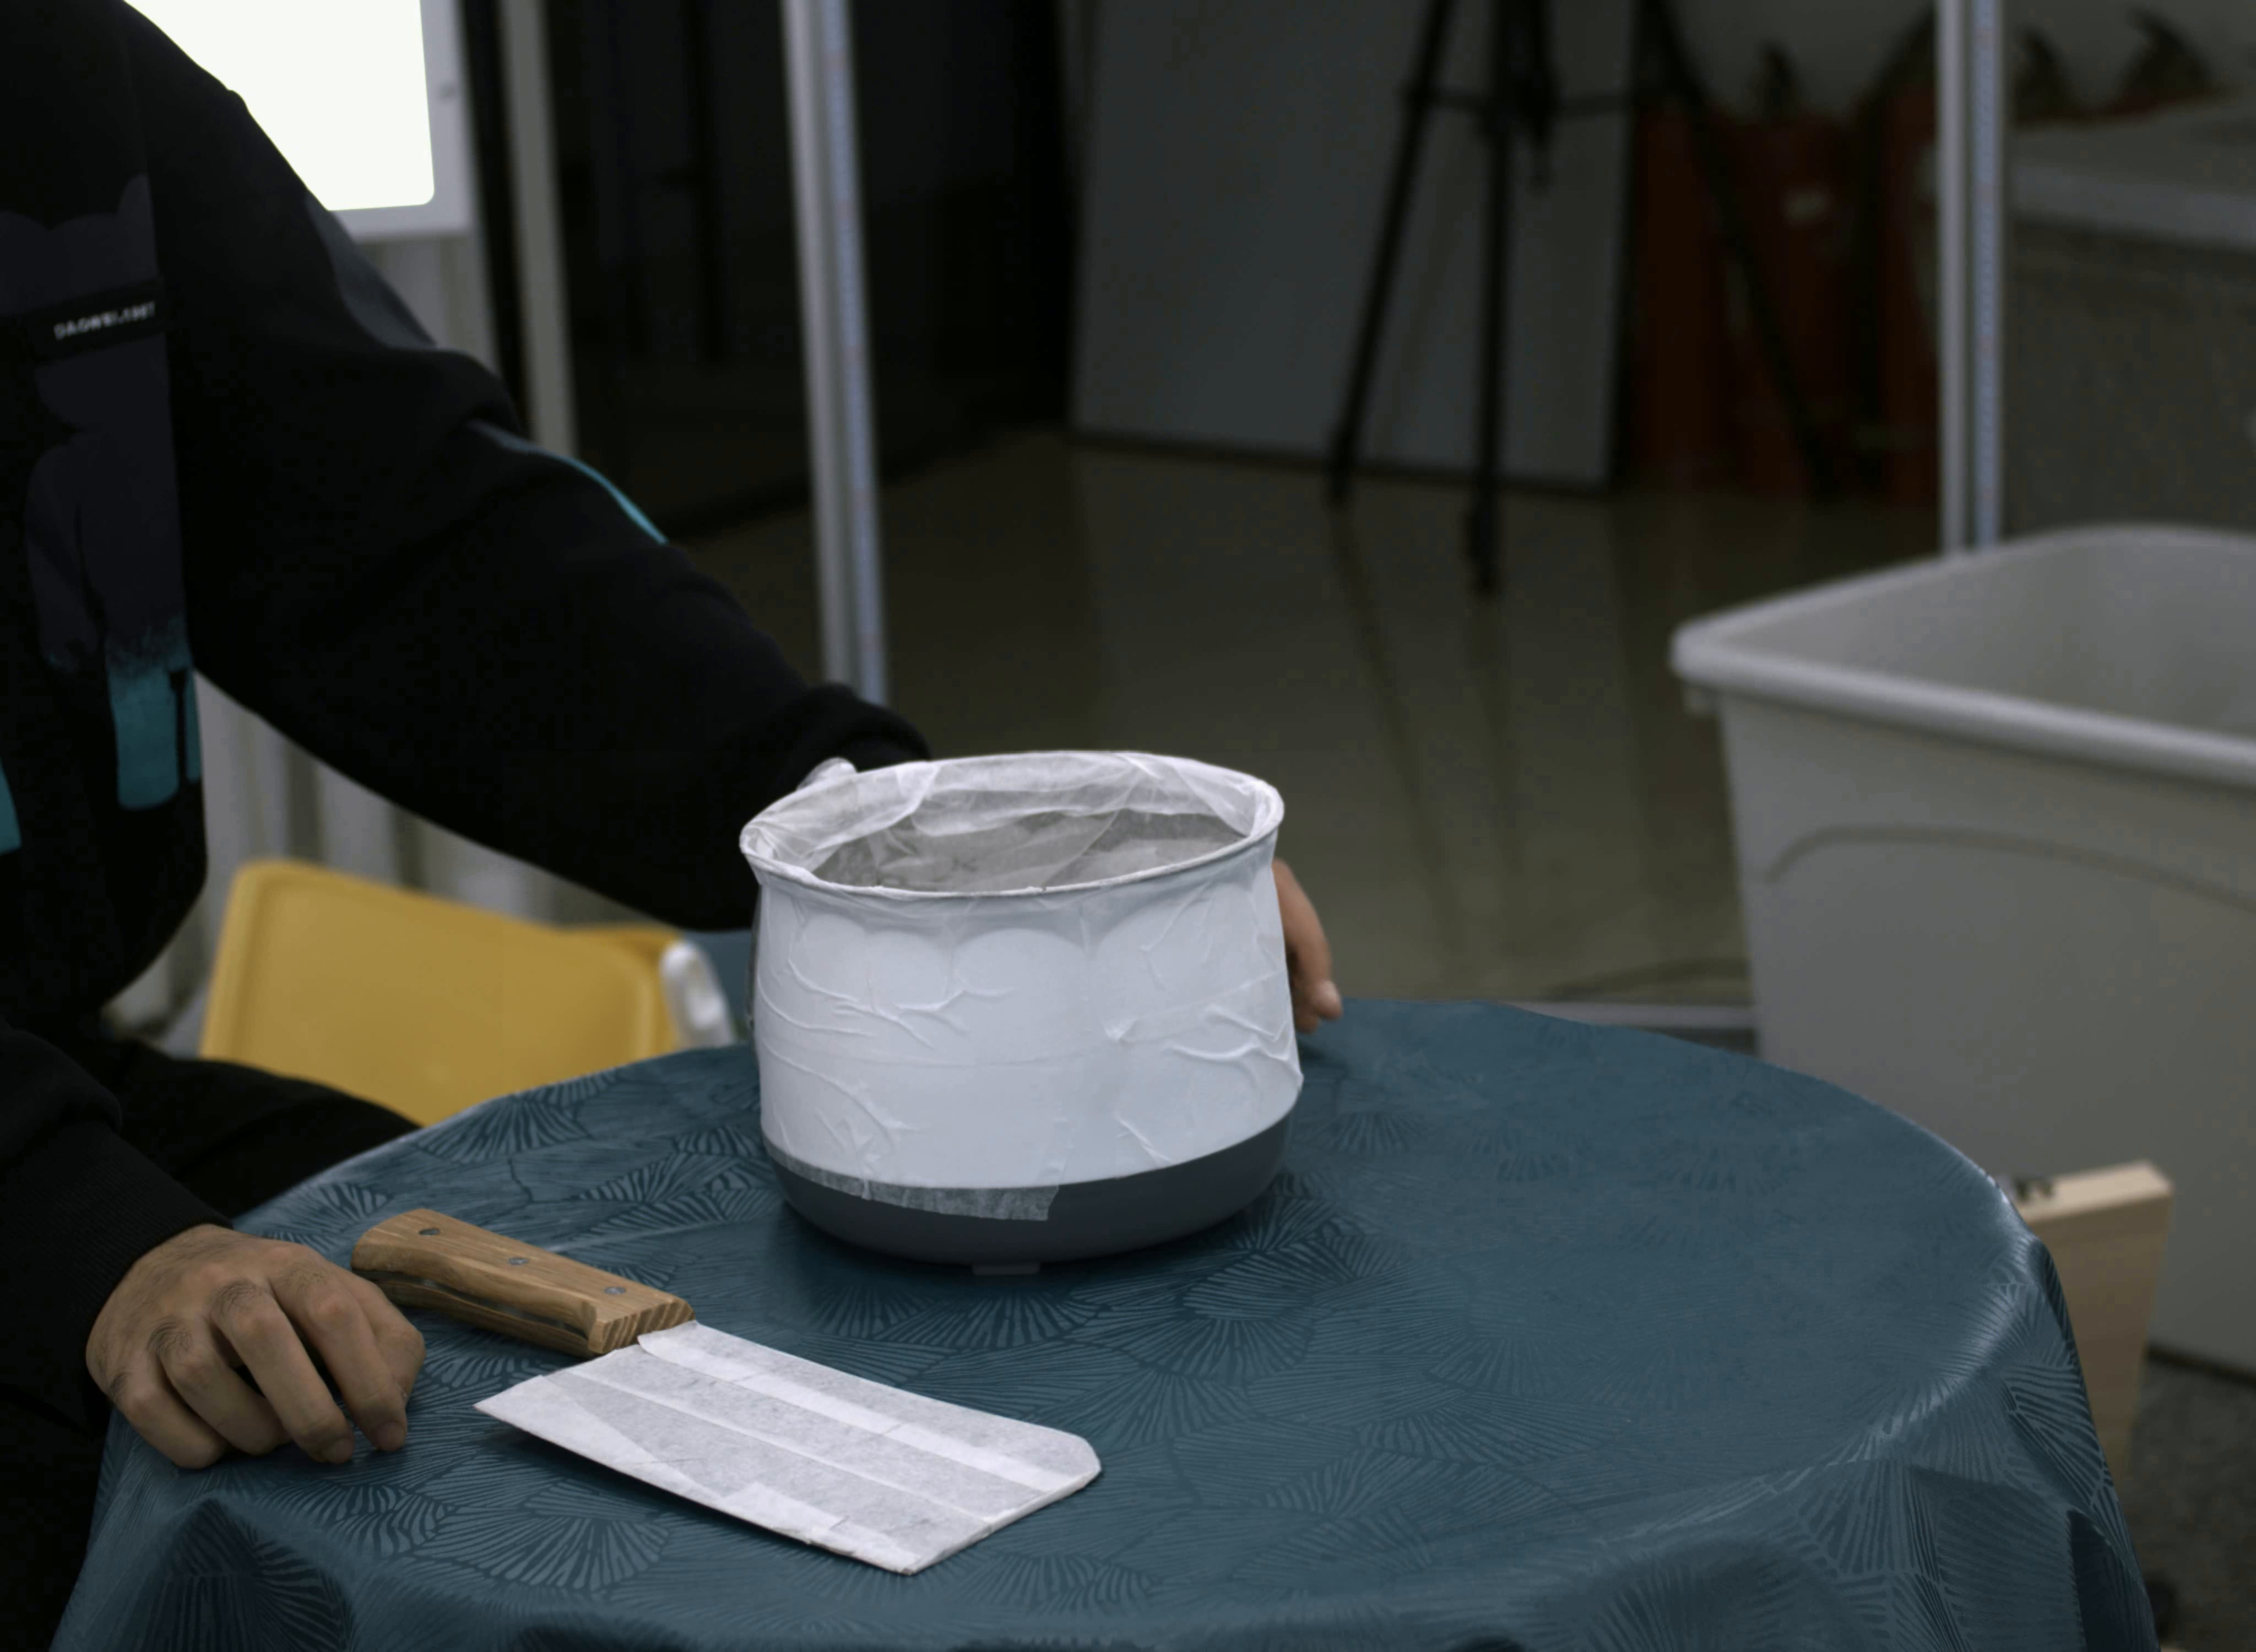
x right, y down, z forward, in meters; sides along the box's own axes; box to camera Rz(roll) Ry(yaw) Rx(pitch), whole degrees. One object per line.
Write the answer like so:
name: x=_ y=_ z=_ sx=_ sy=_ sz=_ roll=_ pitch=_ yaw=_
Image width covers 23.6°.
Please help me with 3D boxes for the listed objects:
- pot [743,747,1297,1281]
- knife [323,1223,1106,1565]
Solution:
pot: x=-0.051 y=0.054 z=1.767 sx=0.175 sy=0.138 sz=0.236 roll=-13 pitch=17 yaw=-37
knife: x=-0.134 y=0.165 z=1.598 sx=0.111 sy=0.022 sz=0.318 roll=-16 pitch=21 yaw=-39
